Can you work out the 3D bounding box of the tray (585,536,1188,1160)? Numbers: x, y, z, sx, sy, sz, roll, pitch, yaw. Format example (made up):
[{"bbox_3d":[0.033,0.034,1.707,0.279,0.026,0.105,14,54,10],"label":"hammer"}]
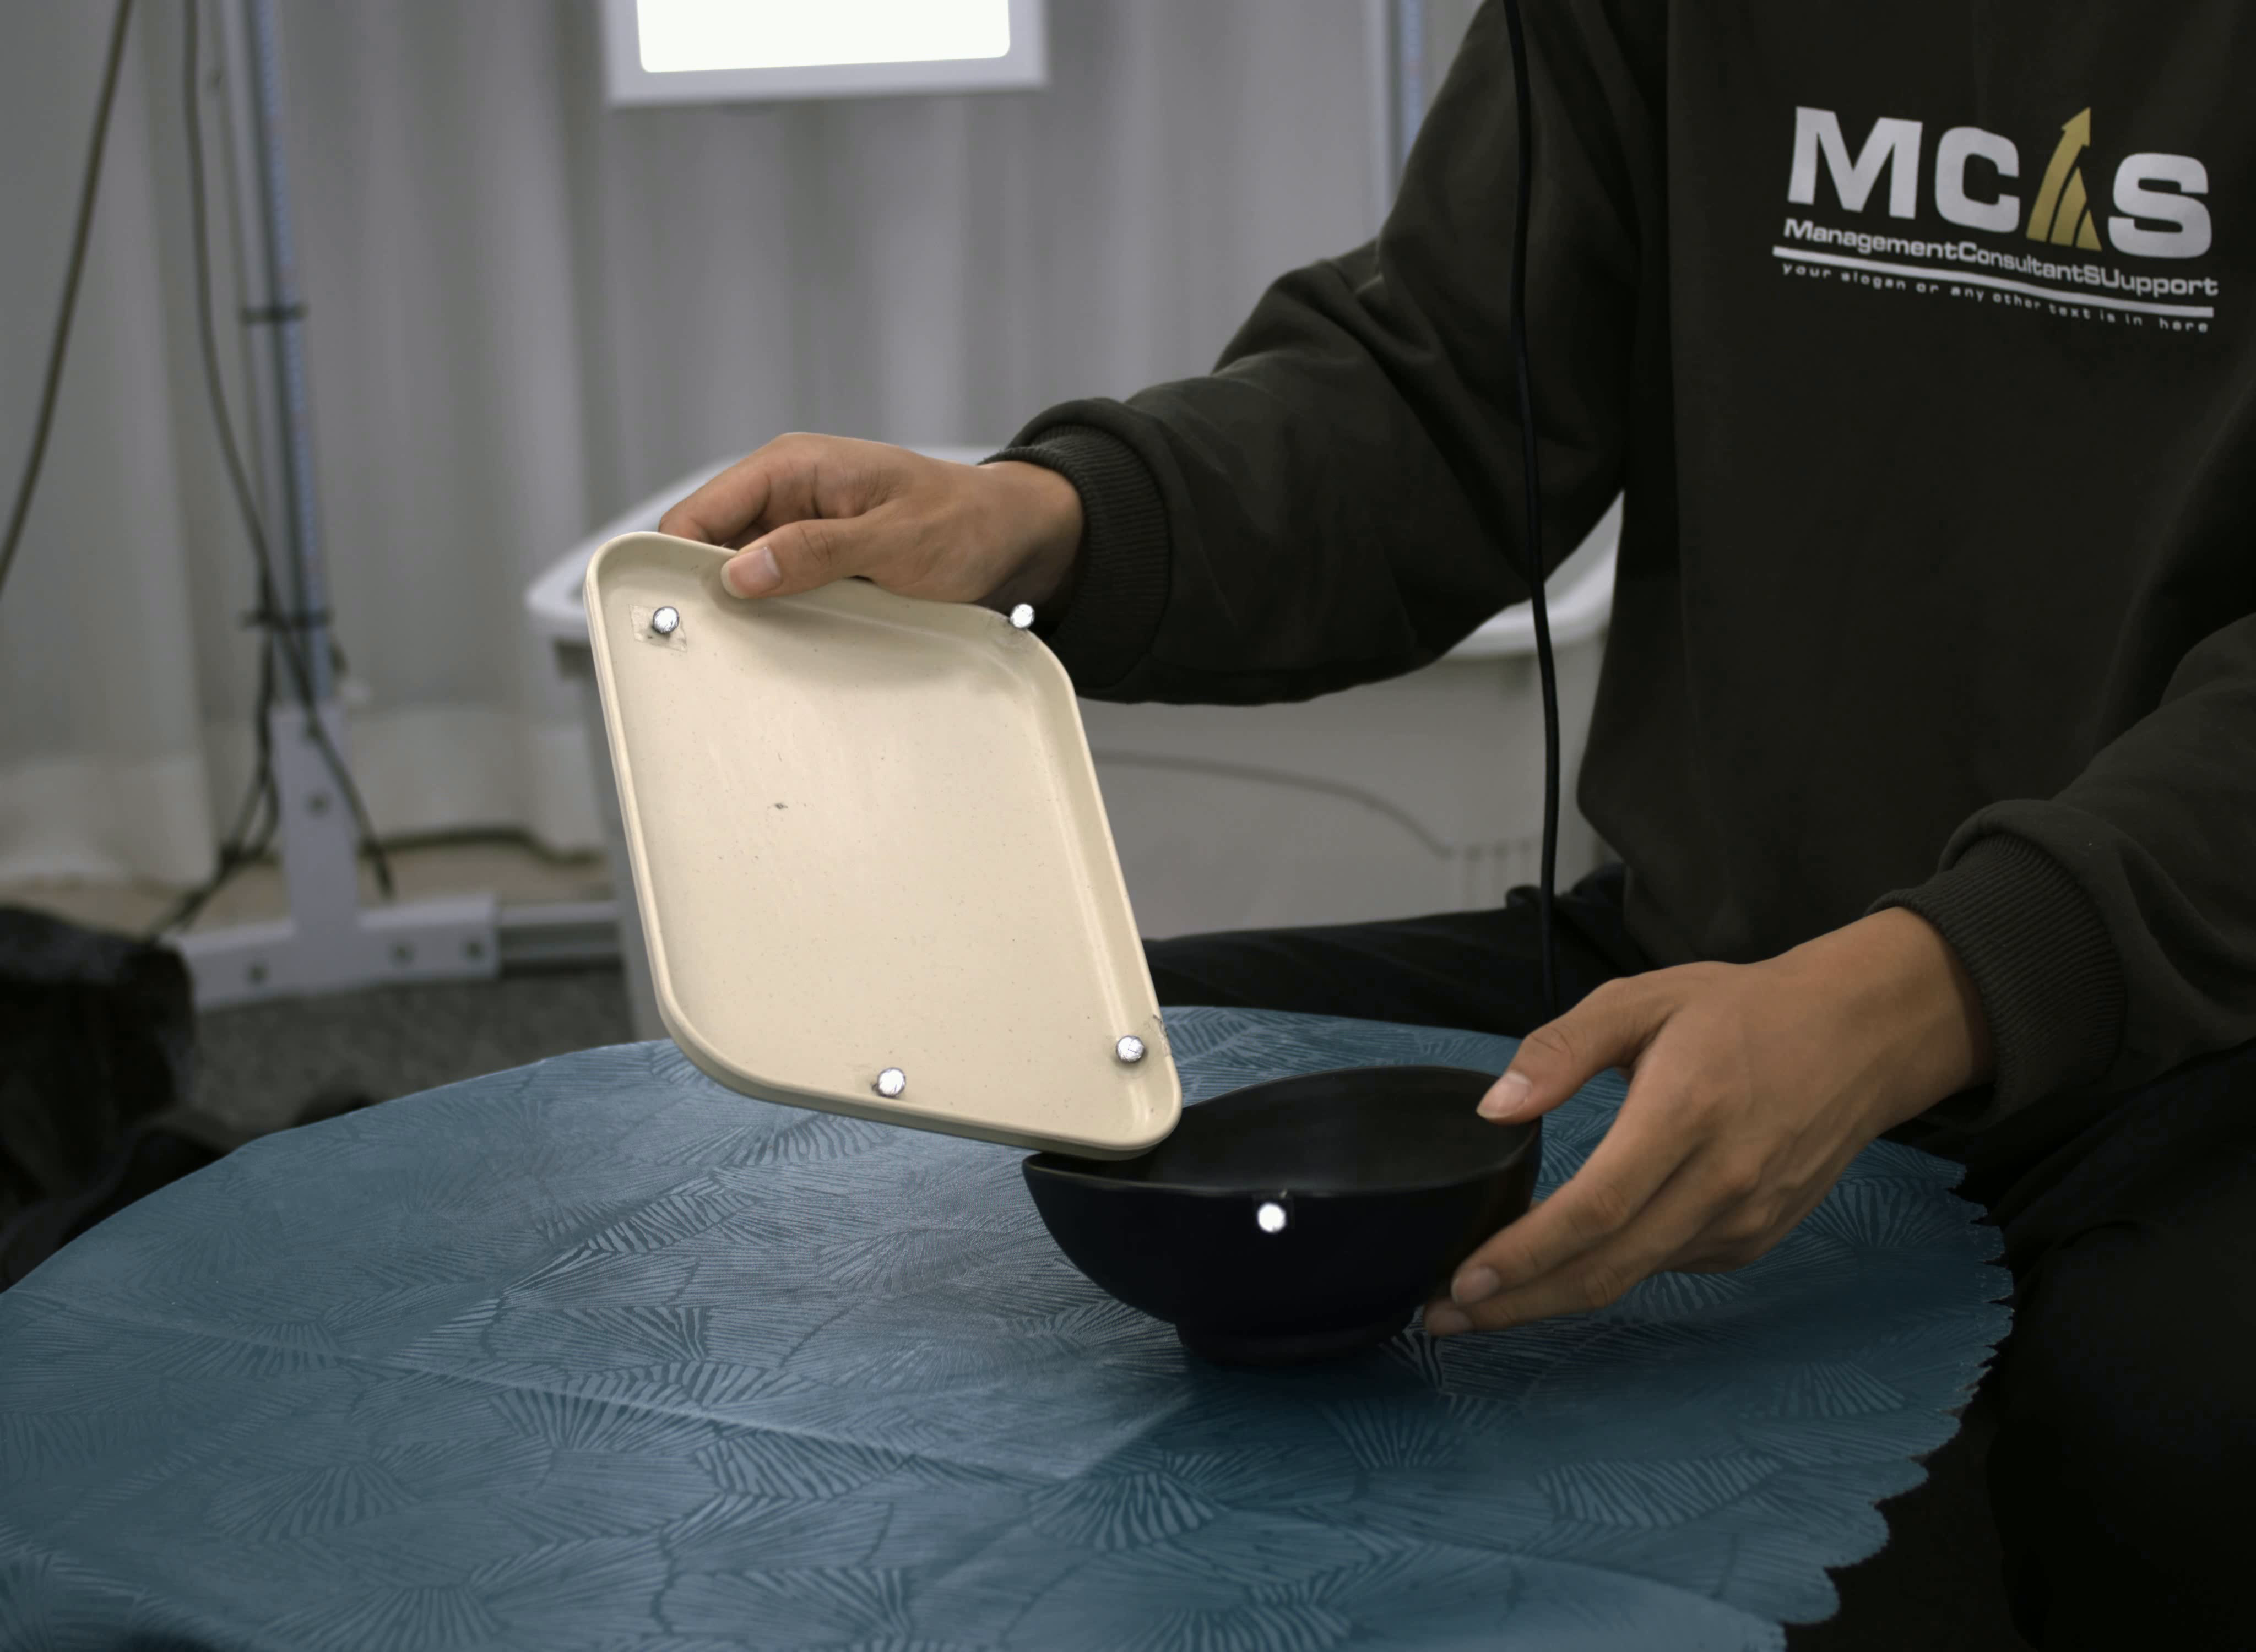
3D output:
[{"bbox_3d":[-0.078,0.007,1.673,0.170,0.017,0.243,12,39,-25],"label":"tray"}]

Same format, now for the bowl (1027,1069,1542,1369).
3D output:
[{"bbox_3d":[0.046,0.117,1.572,0.137,0.066,0.171,-14,10,-40],"label":"bowl"}]
